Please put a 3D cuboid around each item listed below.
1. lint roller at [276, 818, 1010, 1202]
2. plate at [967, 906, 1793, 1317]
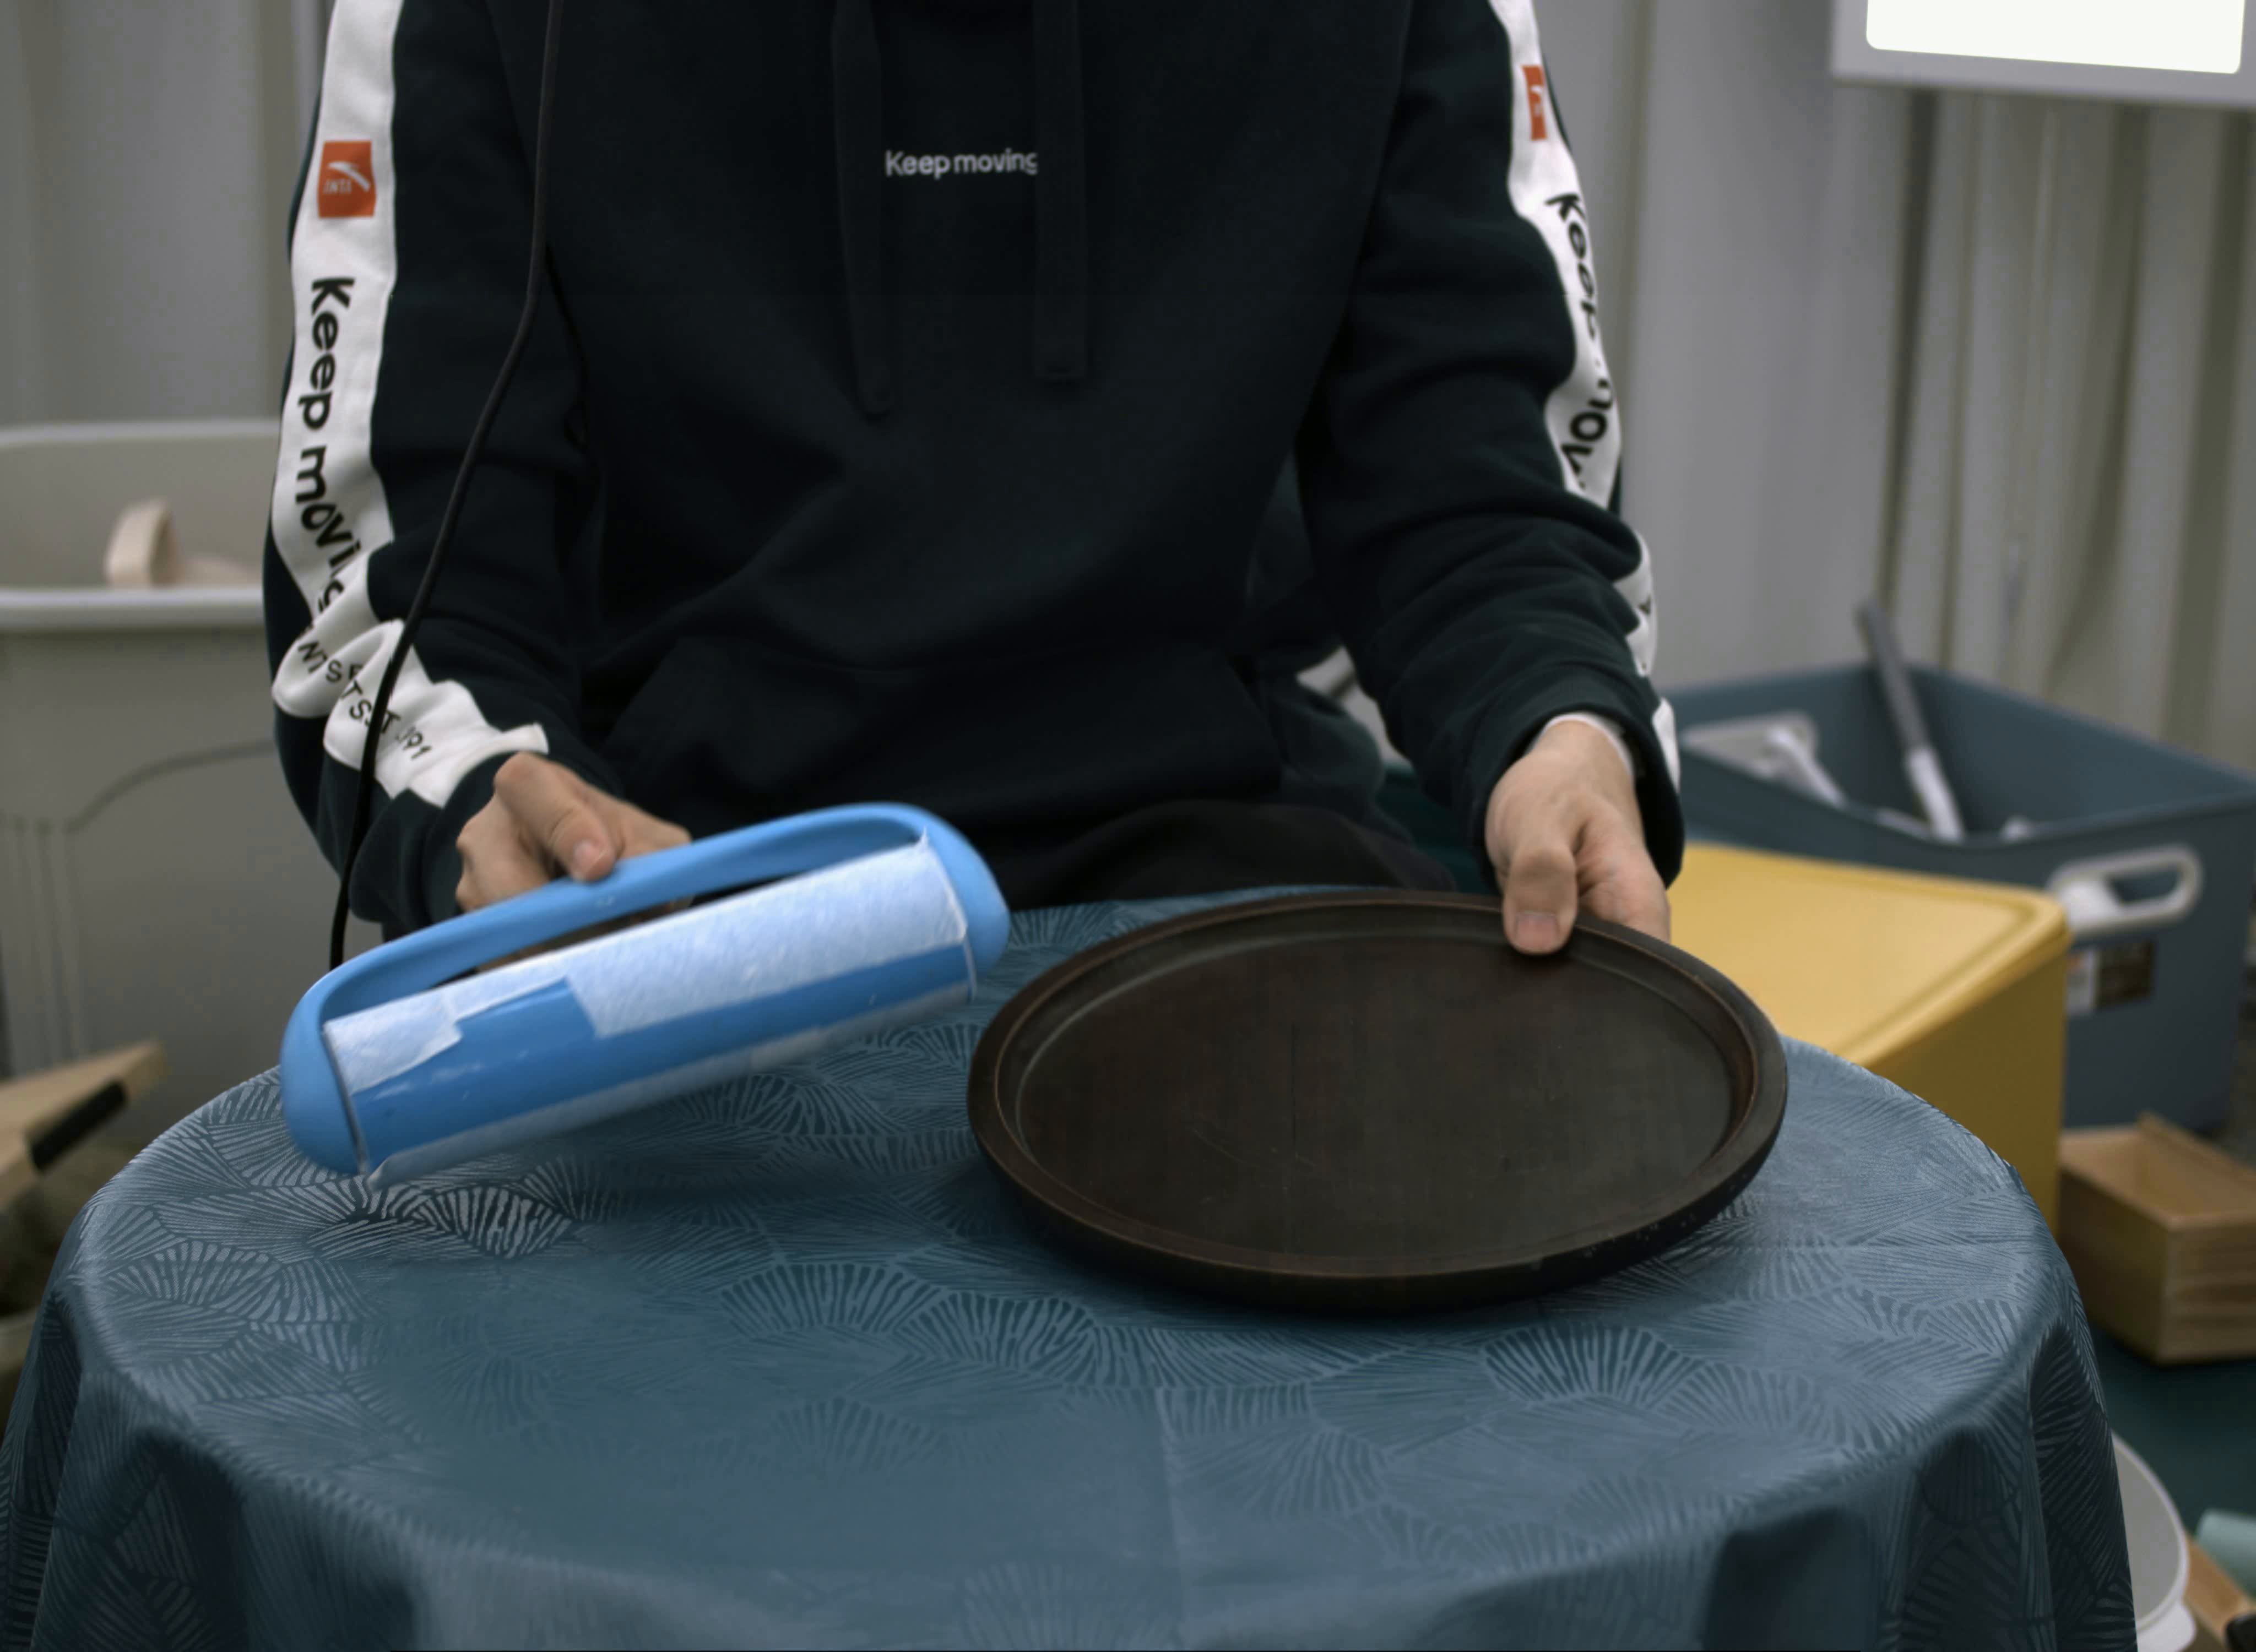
[{"bbox_3d":[-0.162,0.048,1.645,0.229,0.068,0.178,-19,16,-14],"label":"lint roller"},{"bbox_3d":[0.077,0.084,1.613,0.254,0.029,0.253,-1,25,1],"label":"plate"}]
